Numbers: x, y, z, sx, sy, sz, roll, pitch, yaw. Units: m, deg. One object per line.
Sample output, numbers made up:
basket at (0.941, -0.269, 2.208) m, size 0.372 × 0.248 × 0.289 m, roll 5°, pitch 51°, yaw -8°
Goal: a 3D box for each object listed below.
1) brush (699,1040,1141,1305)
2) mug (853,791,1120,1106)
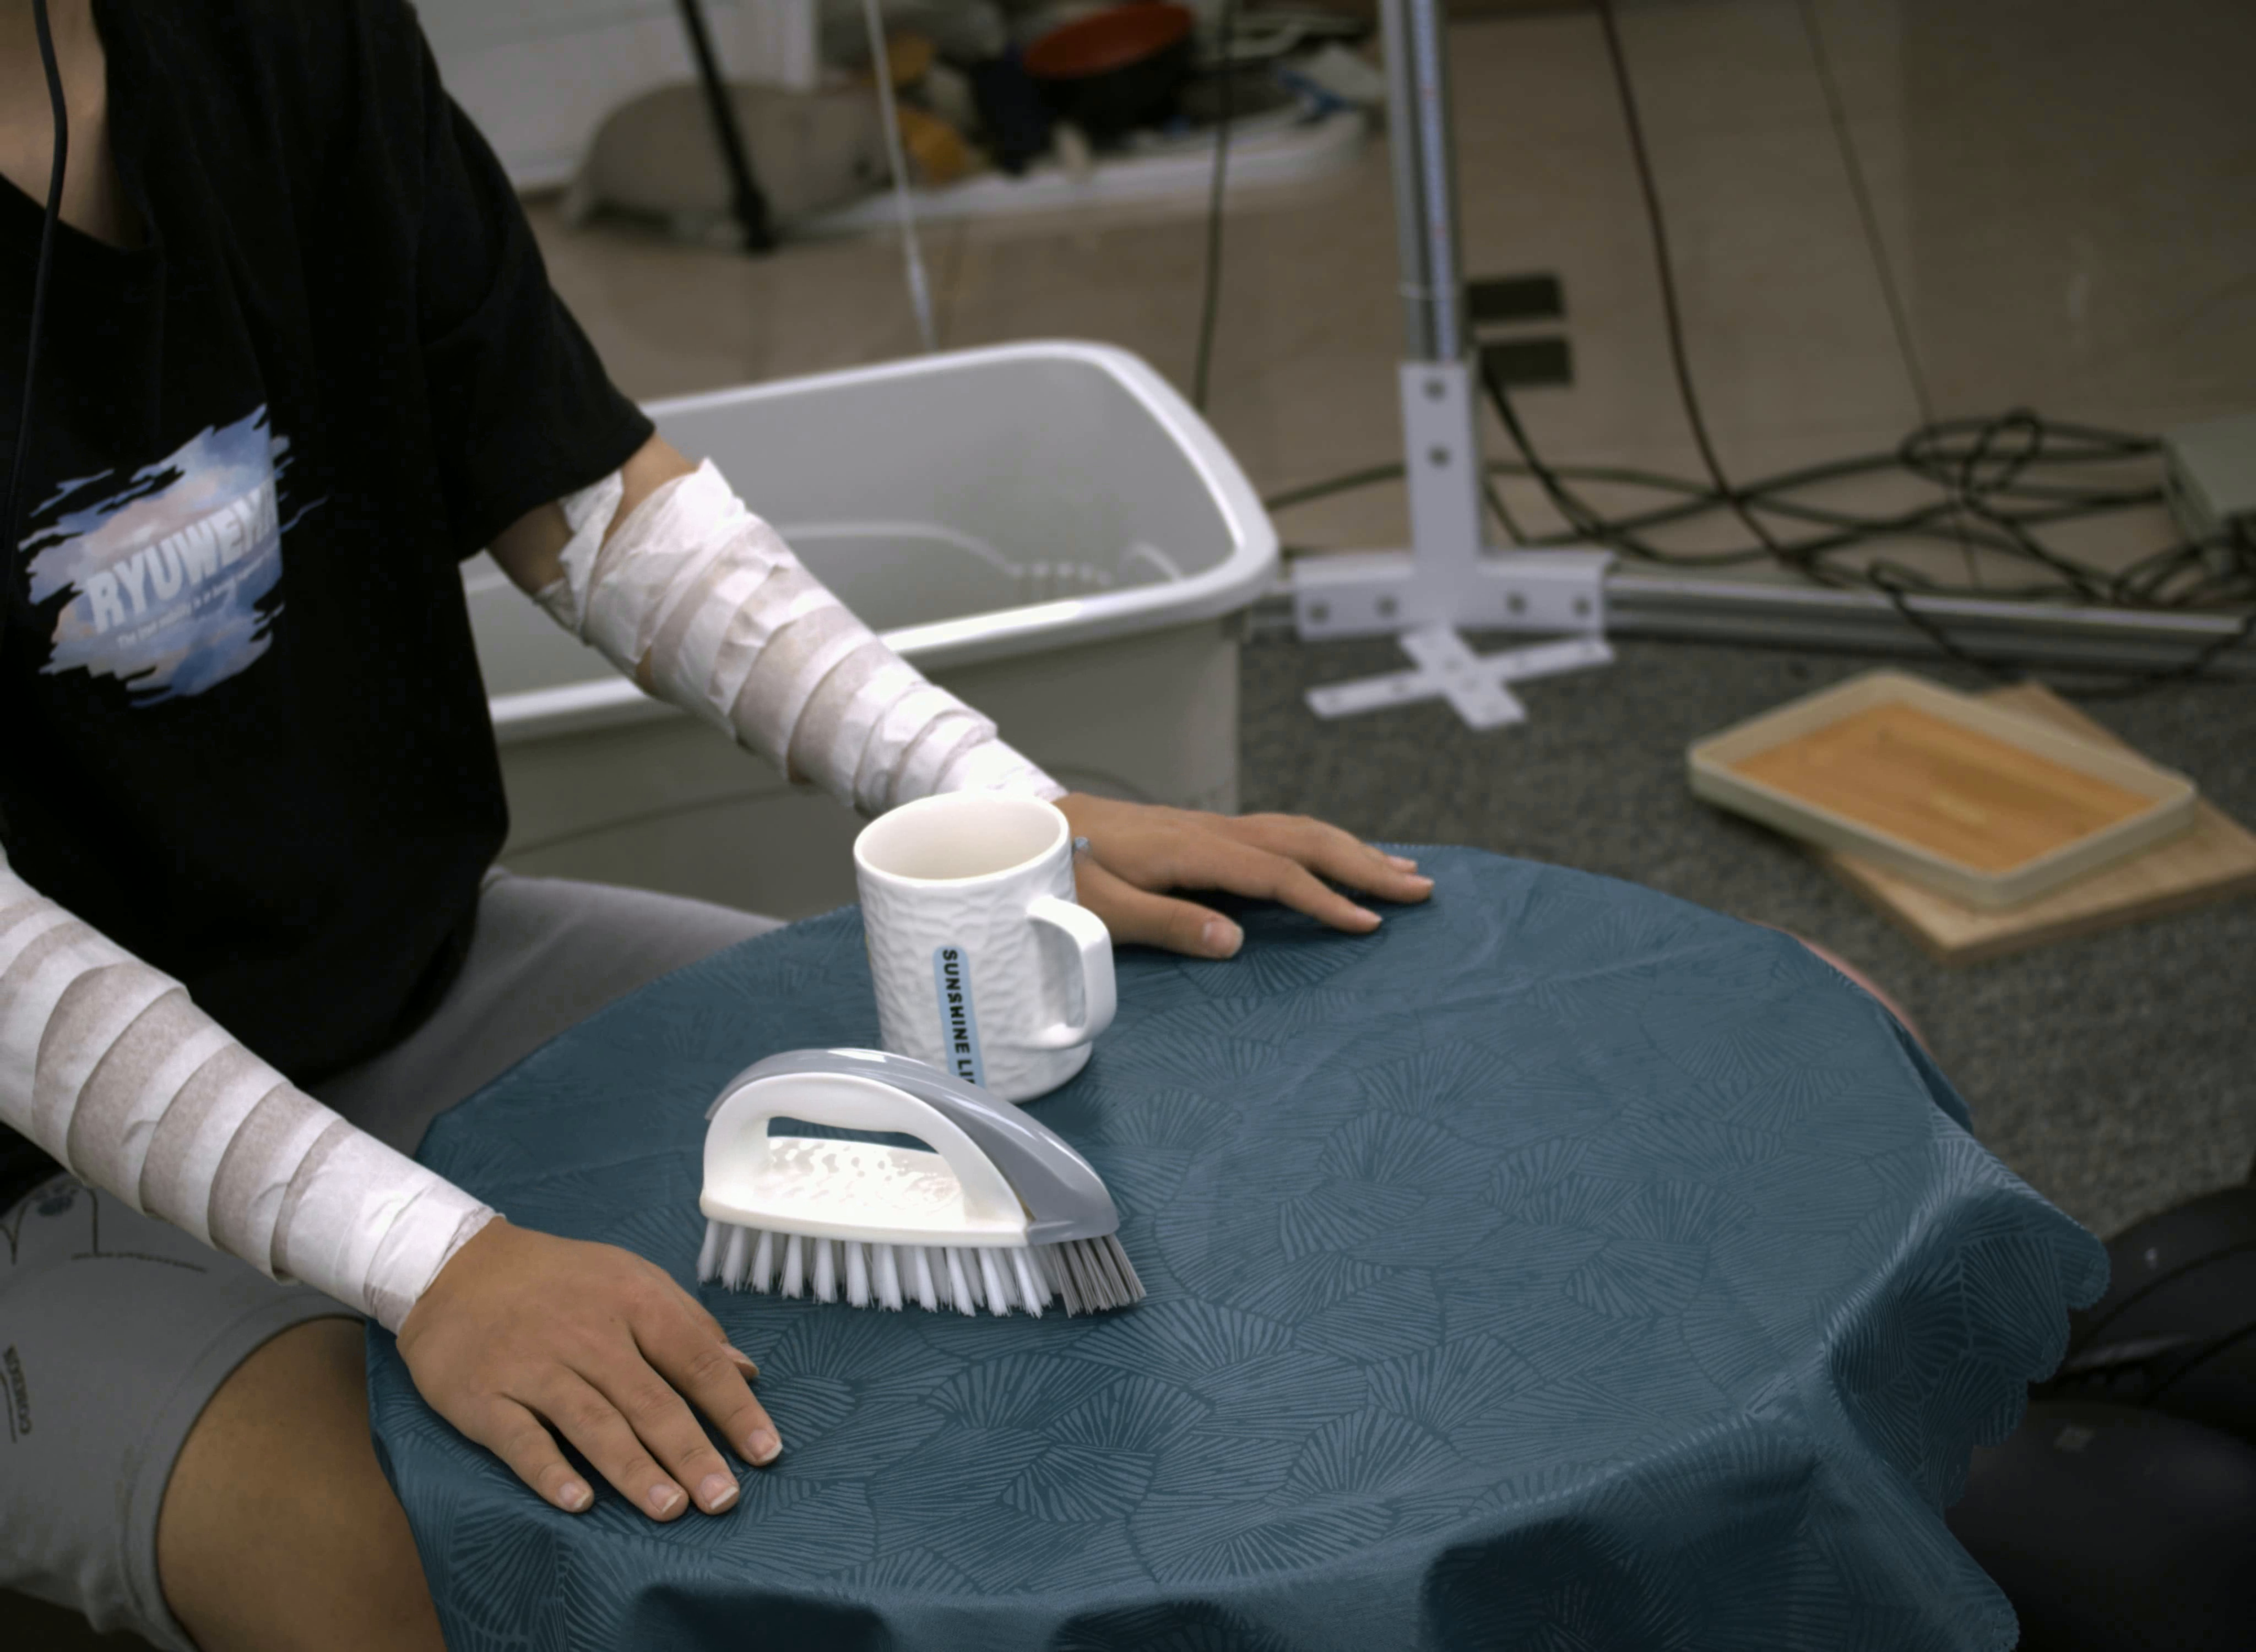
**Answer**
brush at (-0.079, 0.125, 2.088) m, size 0.175 × 0.096 × 0.060 m, roll 8°, pitch 34°, yaw 25°
mug at (-0.049, 0.053, 2.222) m, size 0.117 × 0.103 × 0.084 m, roll 18°, pitch 35°, yaw 41°
